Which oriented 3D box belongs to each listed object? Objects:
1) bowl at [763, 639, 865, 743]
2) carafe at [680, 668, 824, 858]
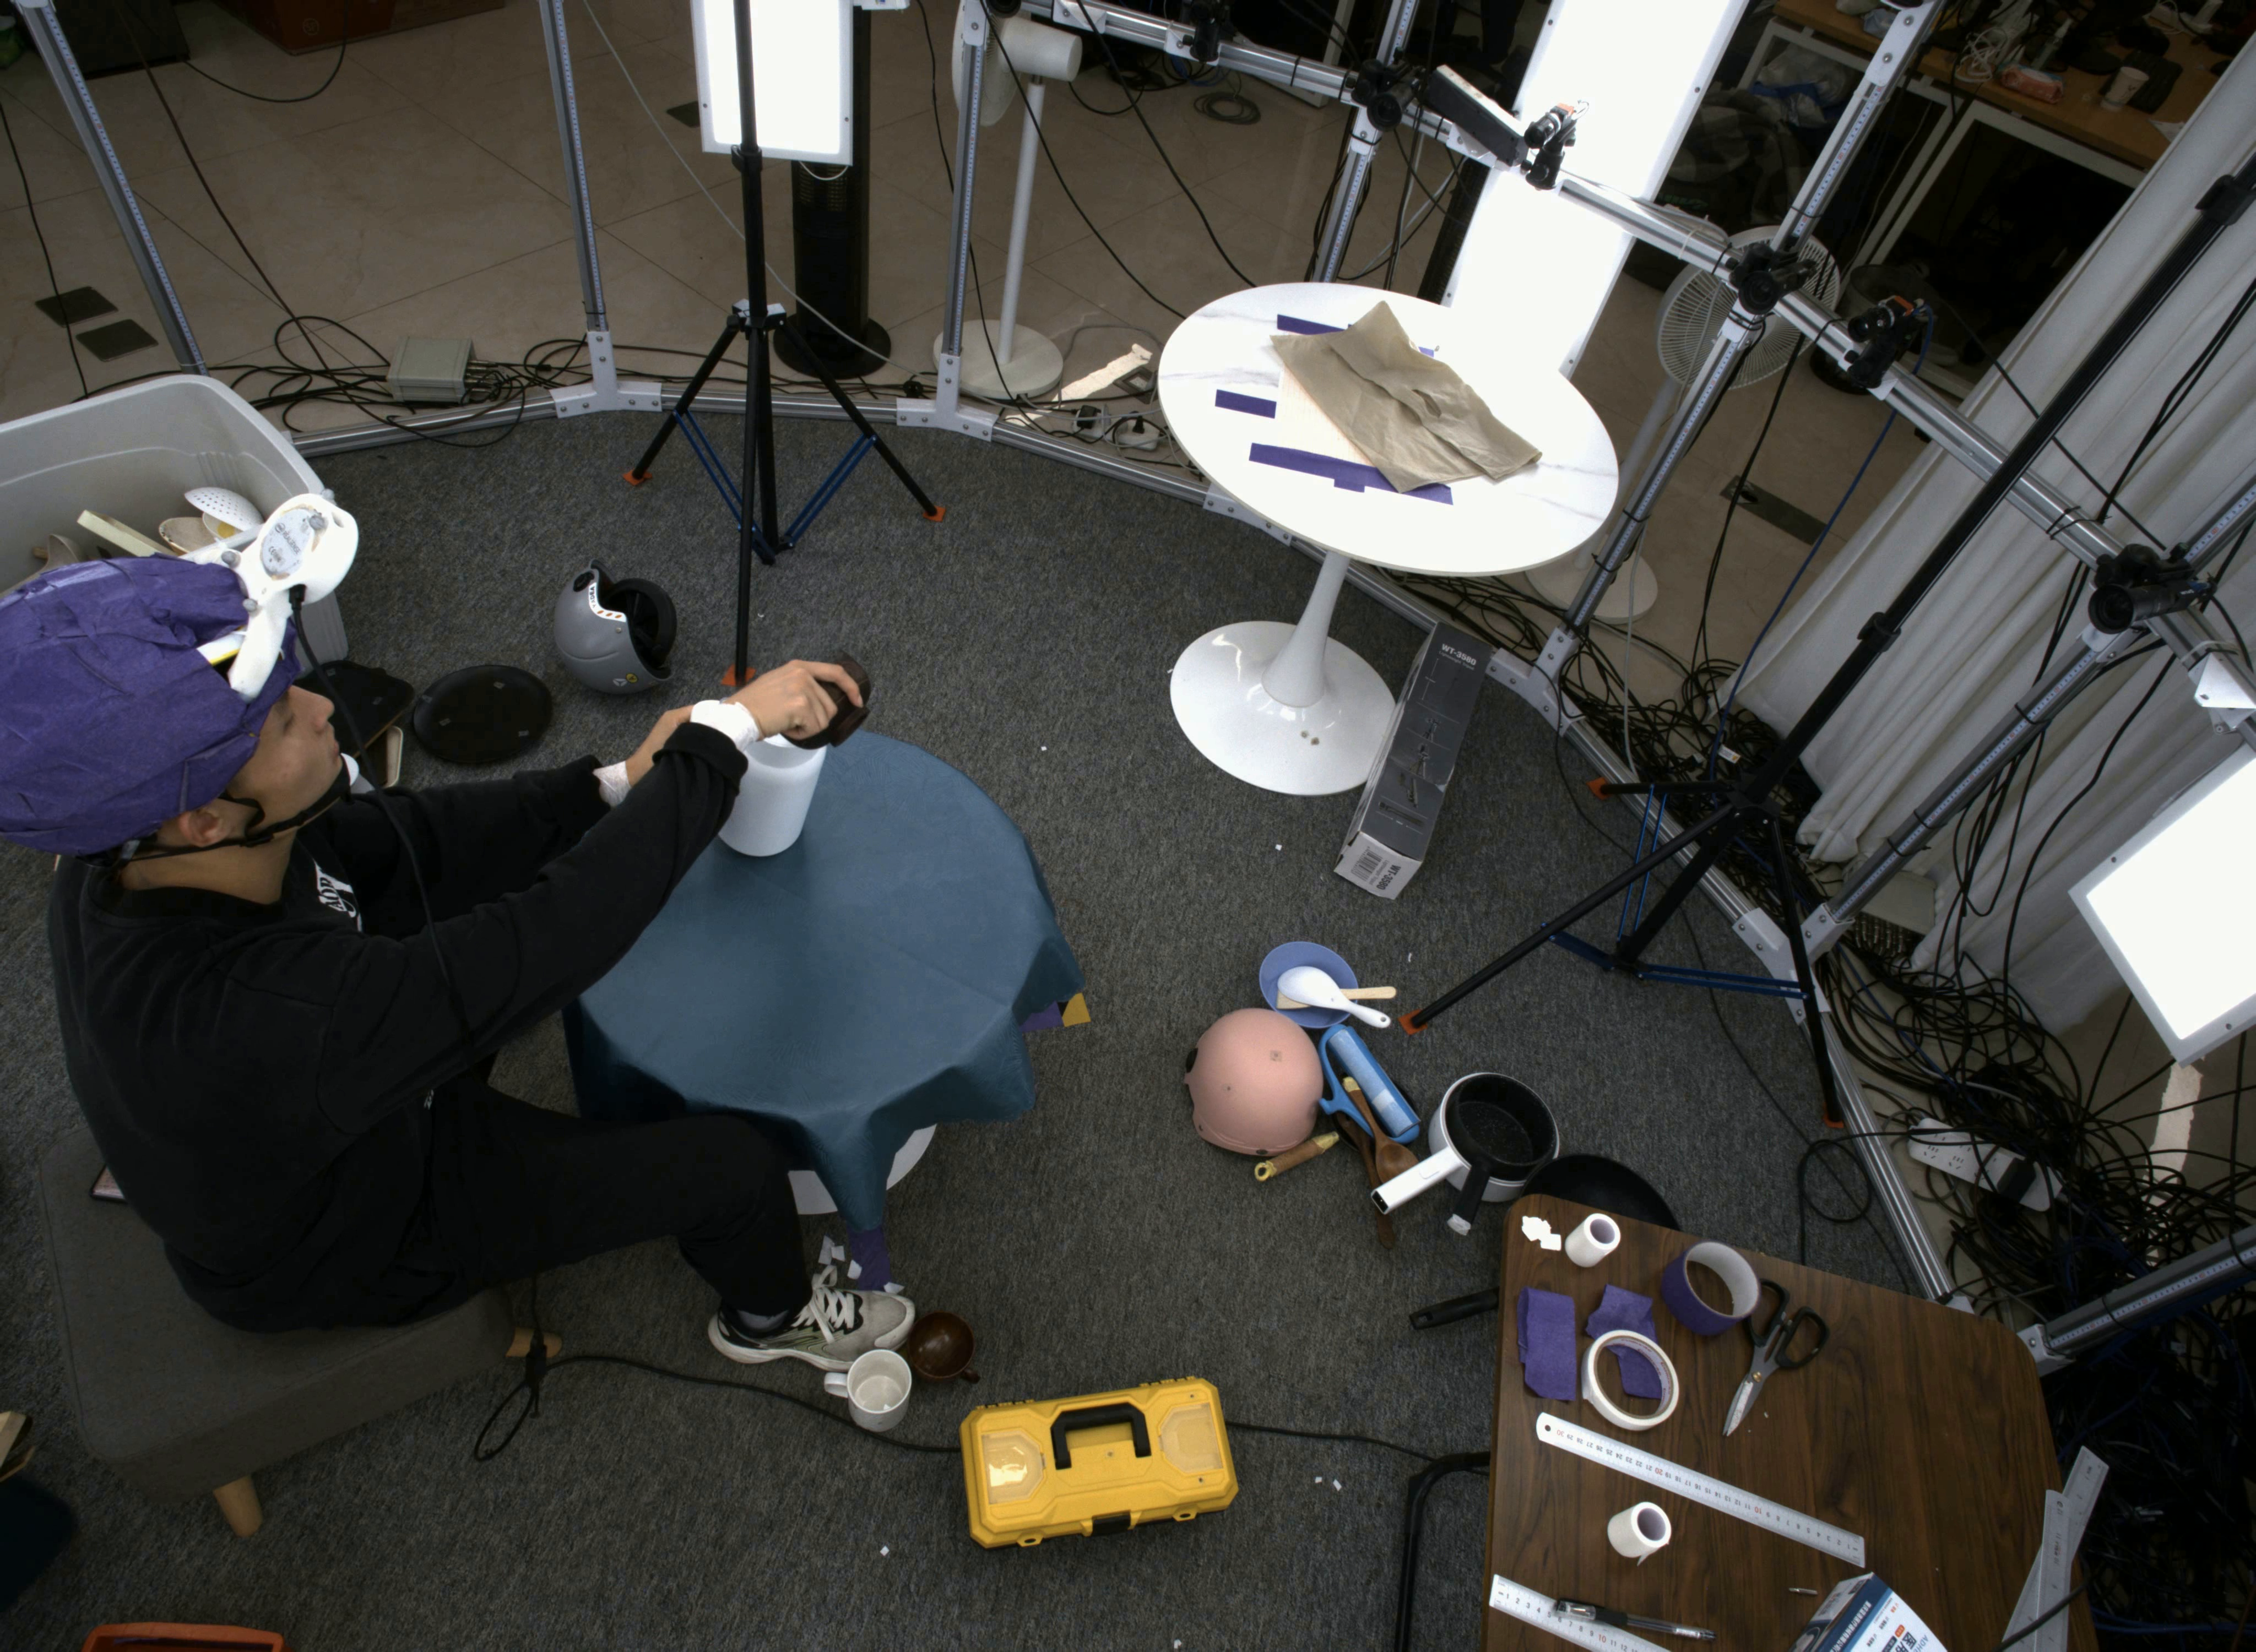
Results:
[{"bbox_3d":[-0.335,-0.138,1.419,0.070,0.117,0.117,42,53,-5],"label":"bowl"},{"bbox_3d":[-0.459,-0.074,1.583,0.174,0.270,0.122,3,62,-22],"label":"carafe"}]
